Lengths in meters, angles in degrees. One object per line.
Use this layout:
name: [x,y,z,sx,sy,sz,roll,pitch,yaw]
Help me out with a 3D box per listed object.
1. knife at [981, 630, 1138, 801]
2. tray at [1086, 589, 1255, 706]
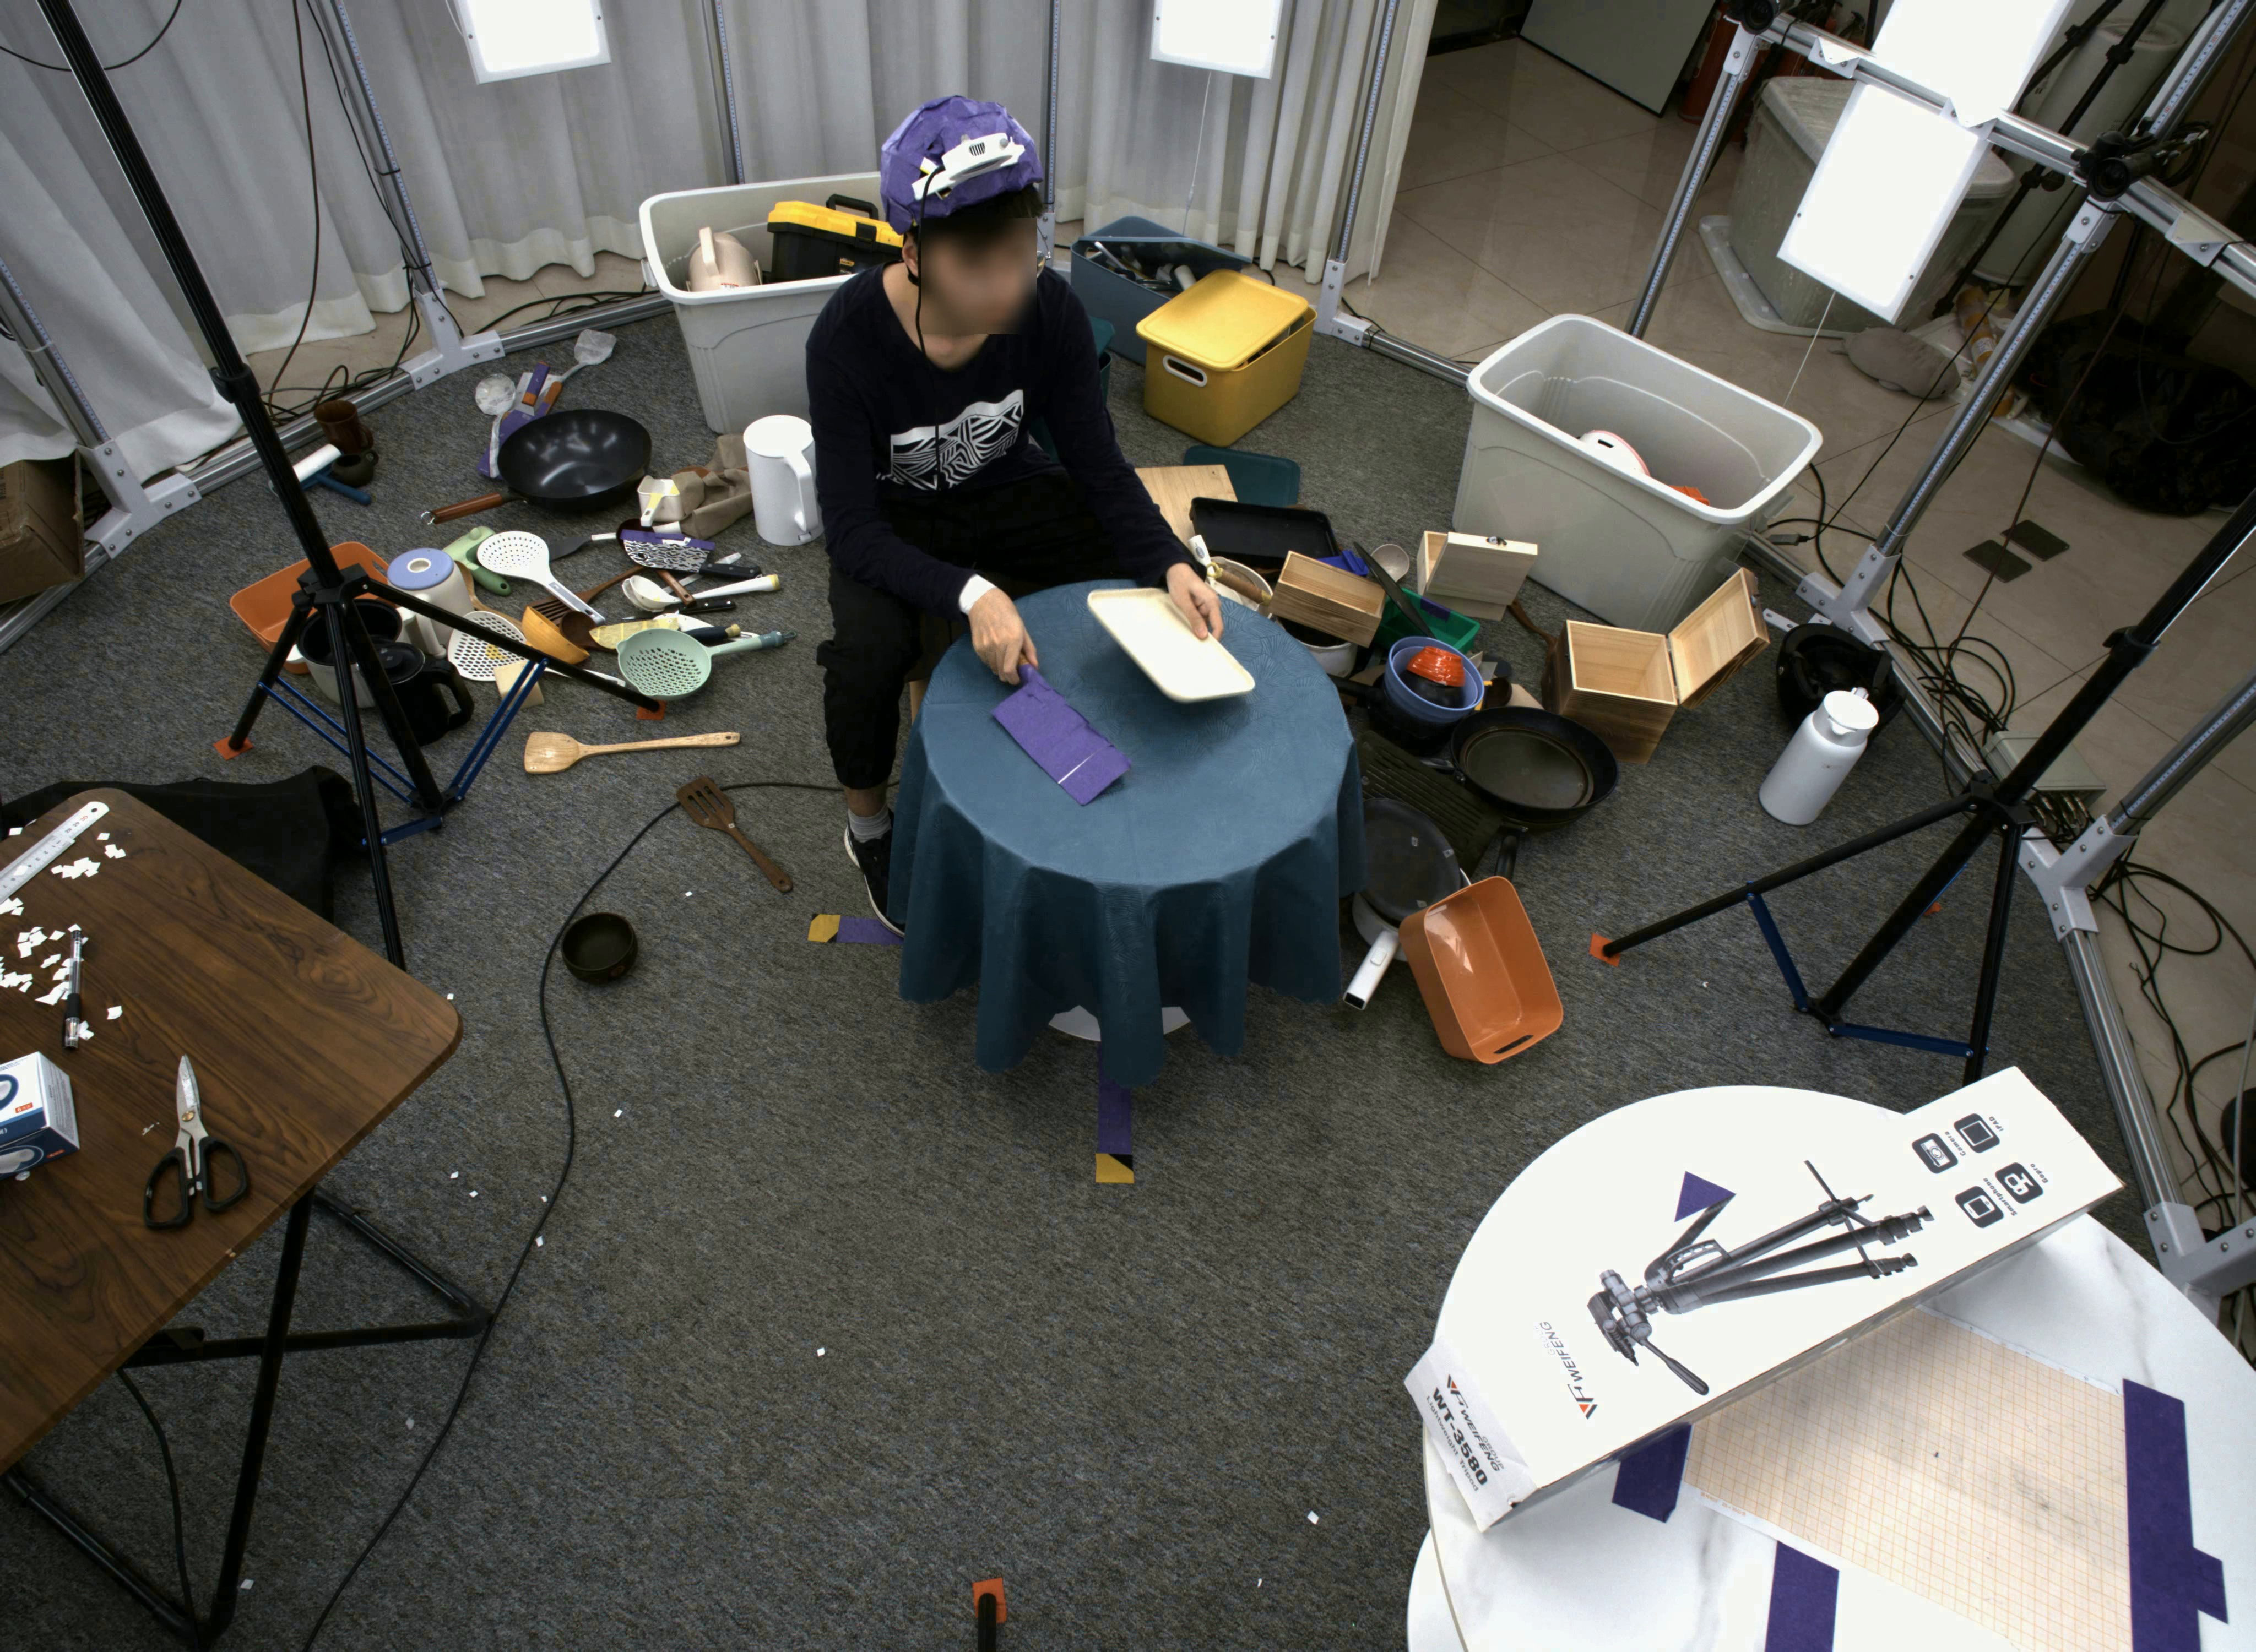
knife: [-0.123,-0.155,1.763,0.104,0.031,0.321,-37,60,-15]
tray: [0.058,-0.254,1.817,0.171,0.017,0.244,-13,51,-38]
